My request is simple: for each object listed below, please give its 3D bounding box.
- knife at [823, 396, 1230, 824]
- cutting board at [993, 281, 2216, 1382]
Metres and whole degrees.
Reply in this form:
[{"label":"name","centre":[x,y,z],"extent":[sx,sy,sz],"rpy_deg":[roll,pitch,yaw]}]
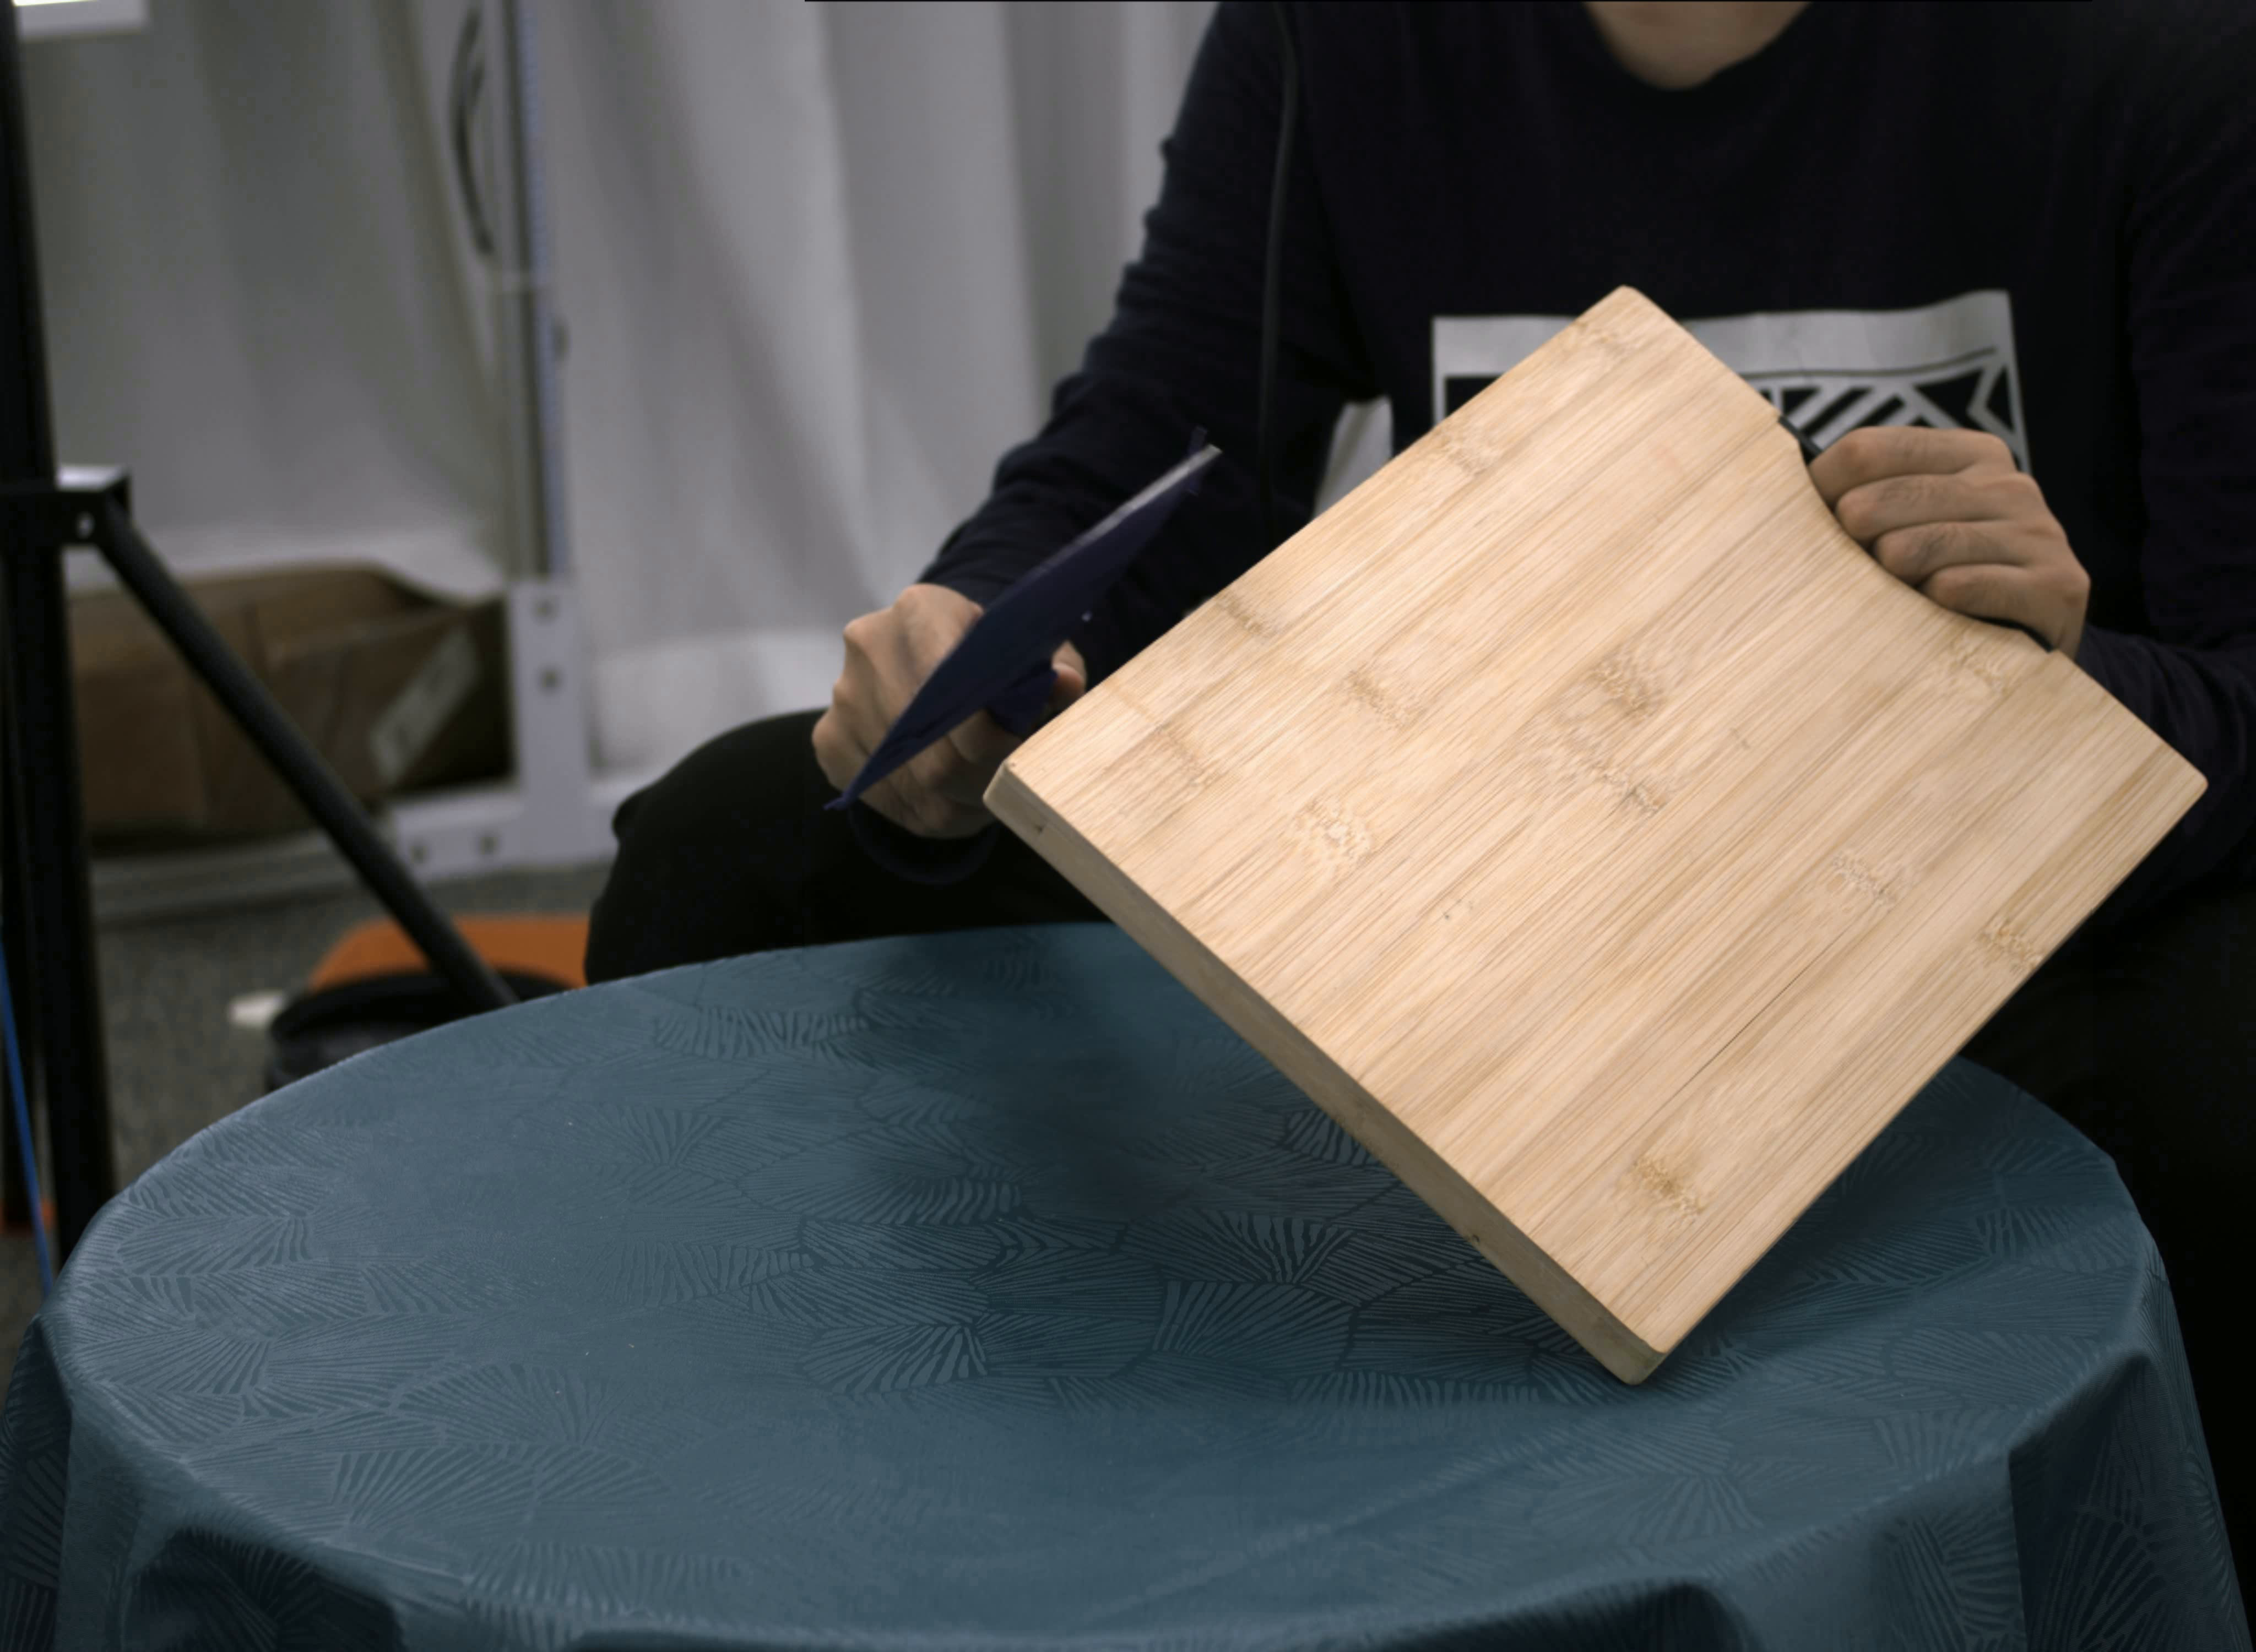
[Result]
[{"label":"knife","centre":[-0.049,-0.048,1.623],"extent":[0.102,0.032,0.317],"rpy_deg":[-34,-7,-22]},{"label":"cutting board","centre":[0.148,-0.011,1.533],"extent":[0.253,0.024,0.343],"rpy_deg":[41,45,11]}]
